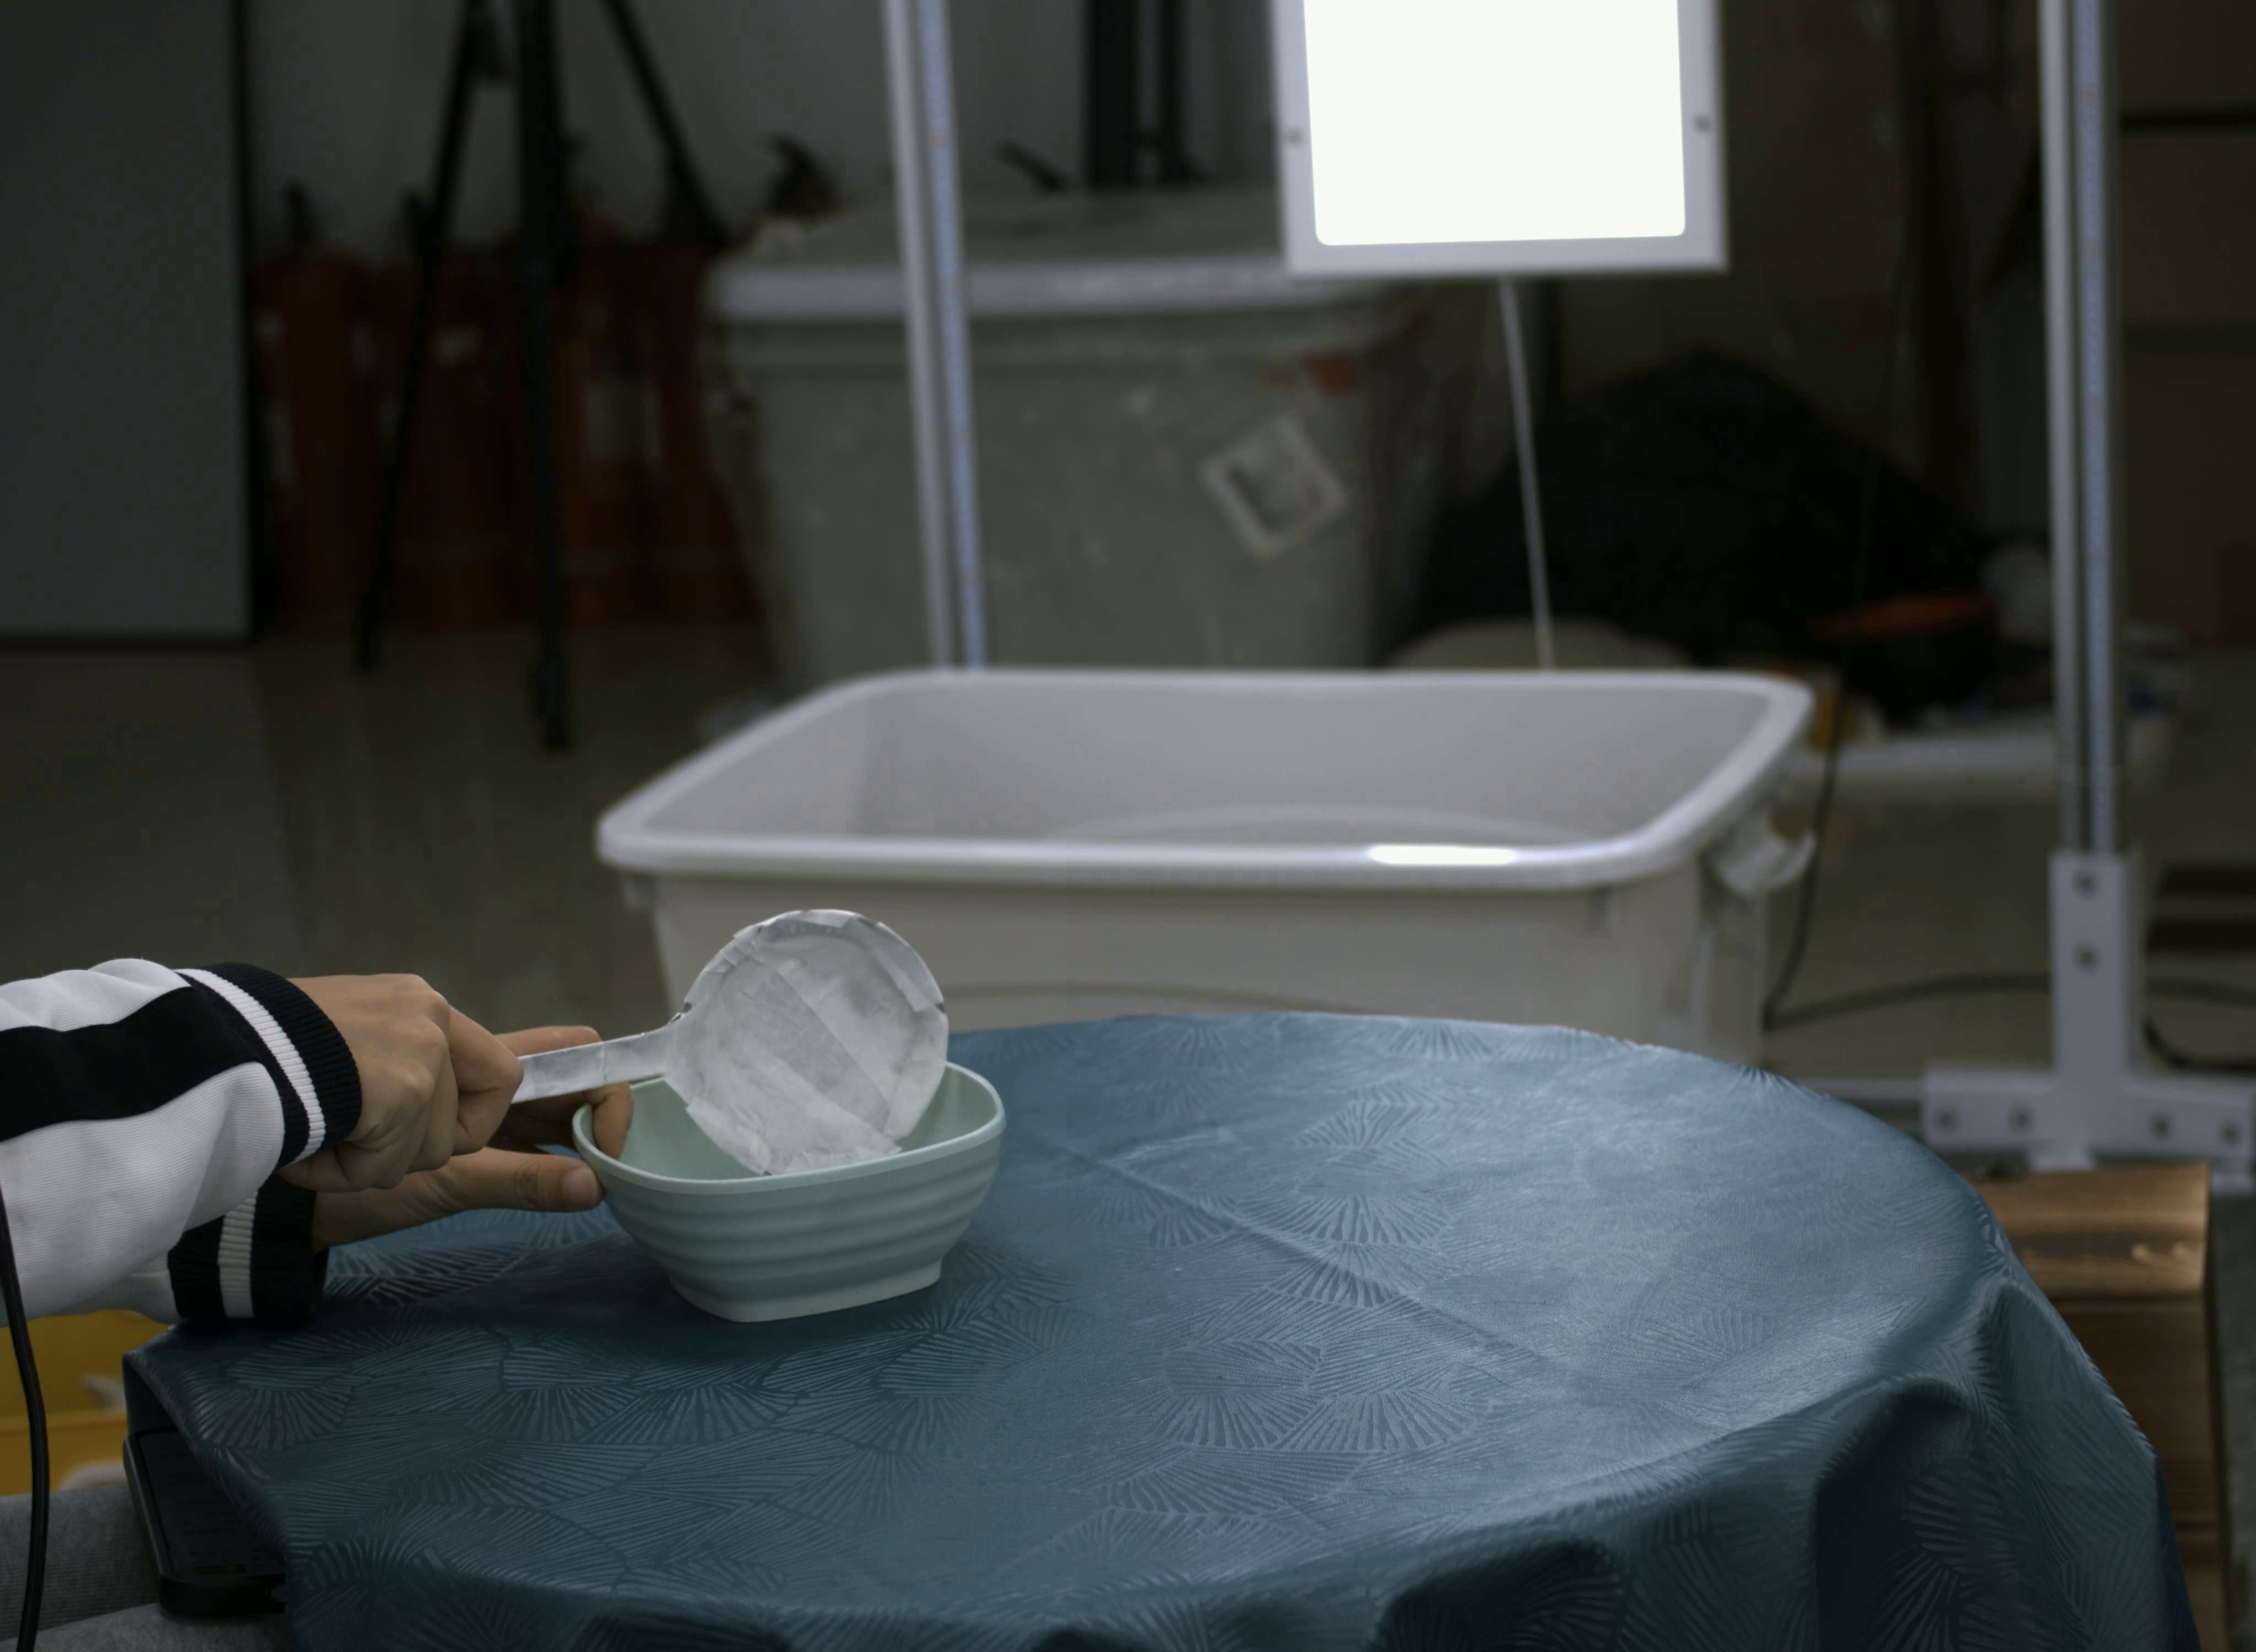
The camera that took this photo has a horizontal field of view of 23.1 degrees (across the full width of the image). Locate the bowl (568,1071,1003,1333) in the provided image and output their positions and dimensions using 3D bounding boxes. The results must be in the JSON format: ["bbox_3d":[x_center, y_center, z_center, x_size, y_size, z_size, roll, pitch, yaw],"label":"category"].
[{"bbox_3d":[-0.112,0.126,1.834,0.151,0.059,0.151,-5,13,0],"label":"bowl"}]

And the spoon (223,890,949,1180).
[{"bbox_3d":[-0.168,0.075,1.768,0.060,0.101,0.270,5,6,39],"label":"spoon"}]
